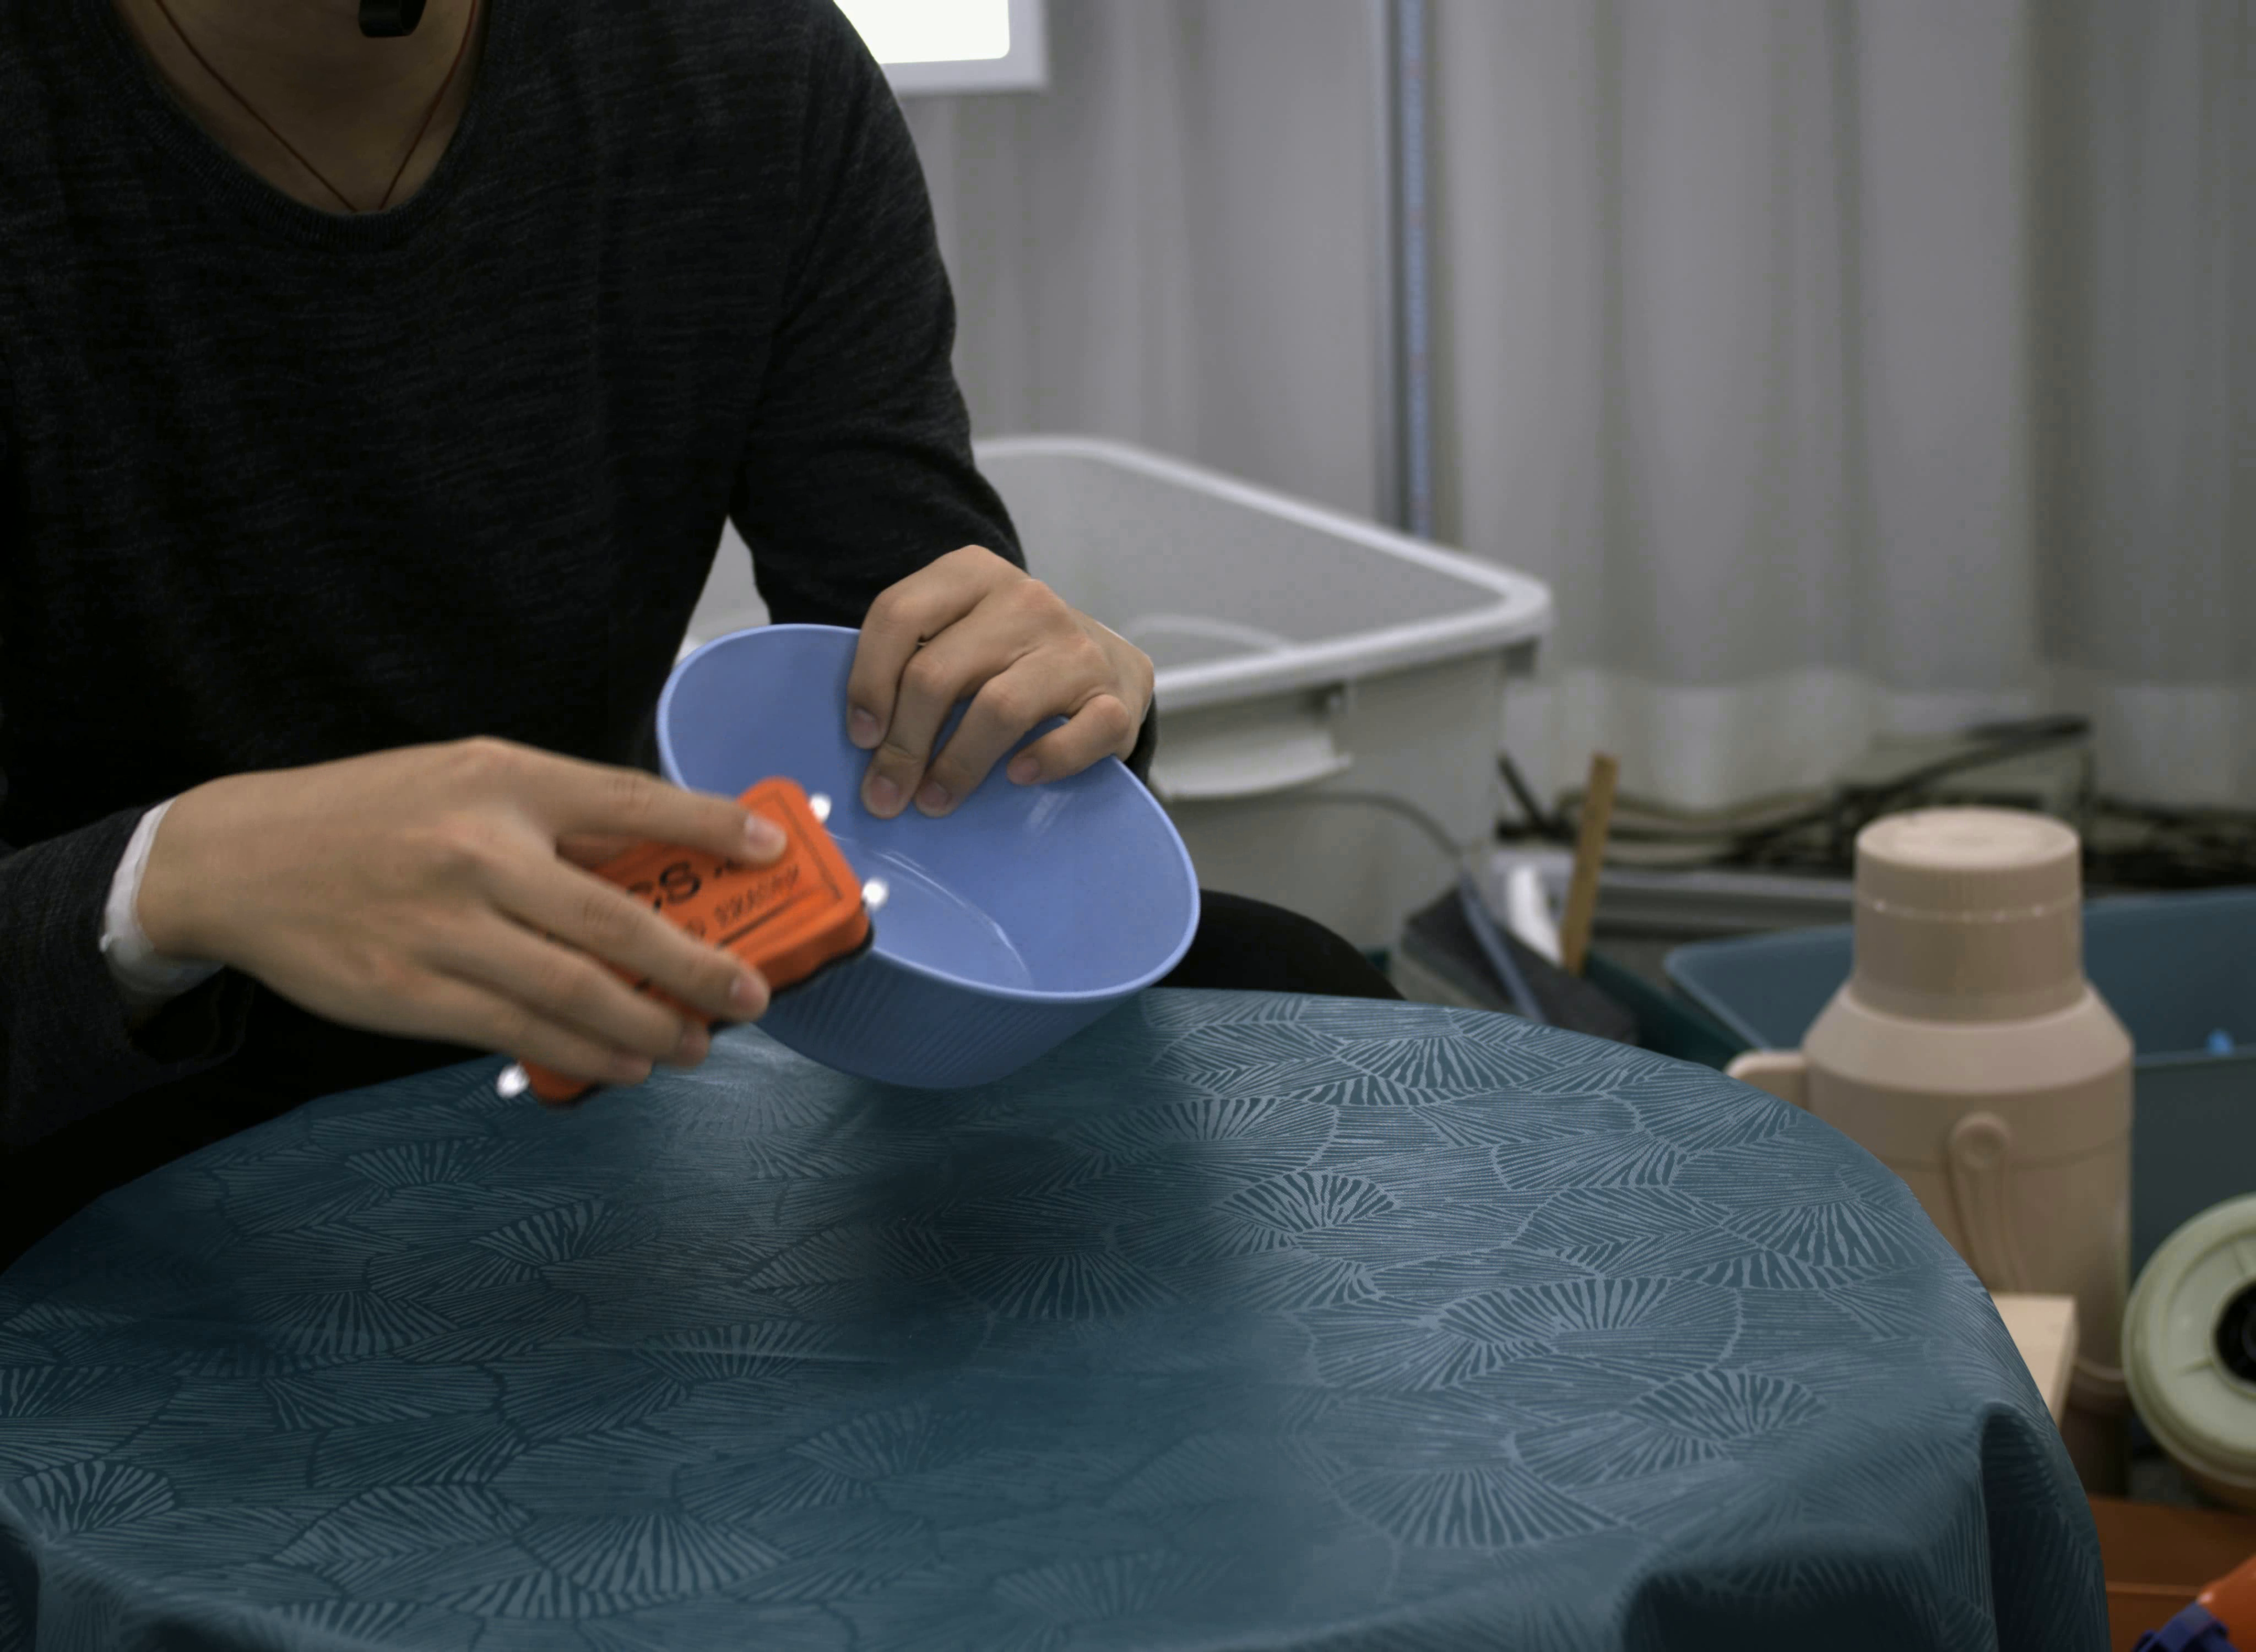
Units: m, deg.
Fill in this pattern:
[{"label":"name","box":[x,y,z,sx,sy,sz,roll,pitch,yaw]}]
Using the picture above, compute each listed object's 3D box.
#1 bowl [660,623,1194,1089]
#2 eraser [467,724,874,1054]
[{"label":"bowl","box":[-0.071,0.018,1.662,0.175,0.070,0.178,20,31,-12]},{"label":"eraser","box":[-0.130,0.018,1.560,0.108,0.022,0.060,-30,55,-11]}]
